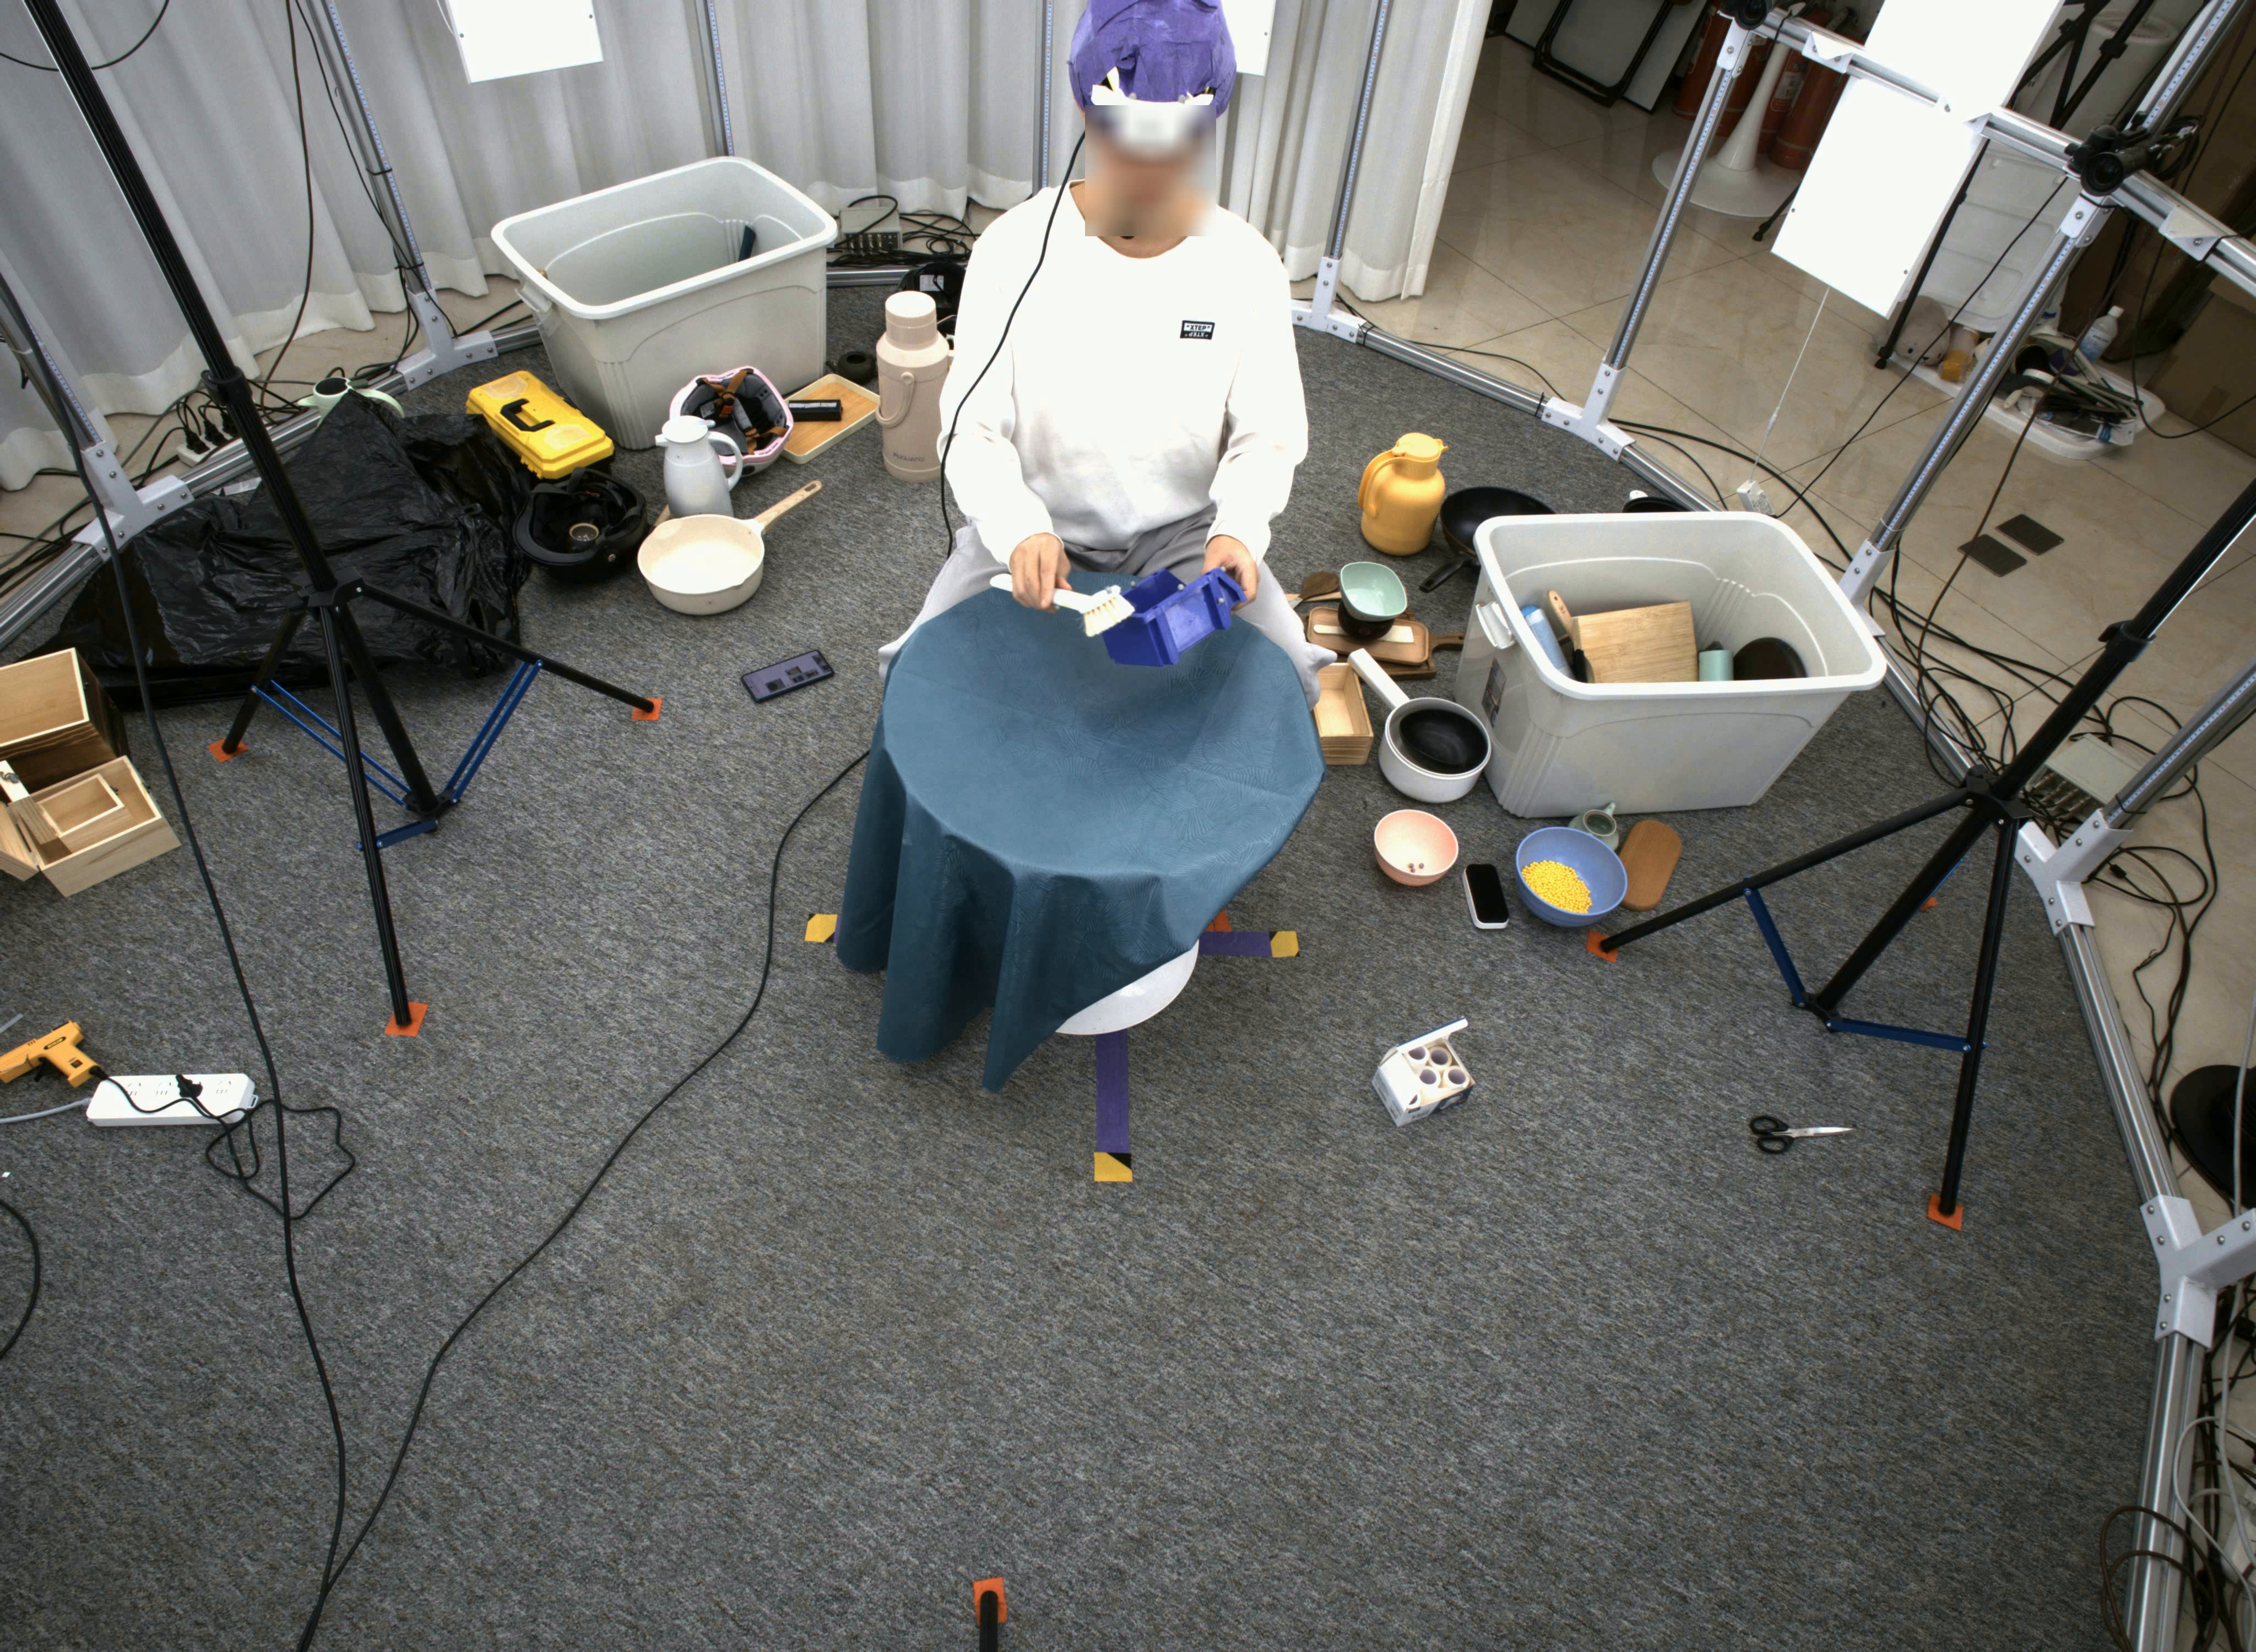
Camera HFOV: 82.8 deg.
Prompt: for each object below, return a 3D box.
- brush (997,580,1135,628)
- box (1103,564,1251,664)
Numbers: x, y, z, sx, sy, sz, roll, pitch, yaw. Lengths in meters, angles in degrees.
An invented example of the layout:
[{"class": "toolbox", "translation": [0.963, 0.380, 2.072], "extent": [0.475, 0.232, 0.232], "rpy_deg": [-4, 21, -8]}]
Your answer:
[{"class": "brush", "translation": [-0.088, -0.298, 1.713], "extent": [0.069, 0.055, 0.269], "rpy_deg": [-24, 23, -34]}, {"class": "box", "translation": [0.060, -0.294, 1.751], "extent": [0.181, 0.080, 0.125], "rpy_deg": [-39, 29, -29]}]
